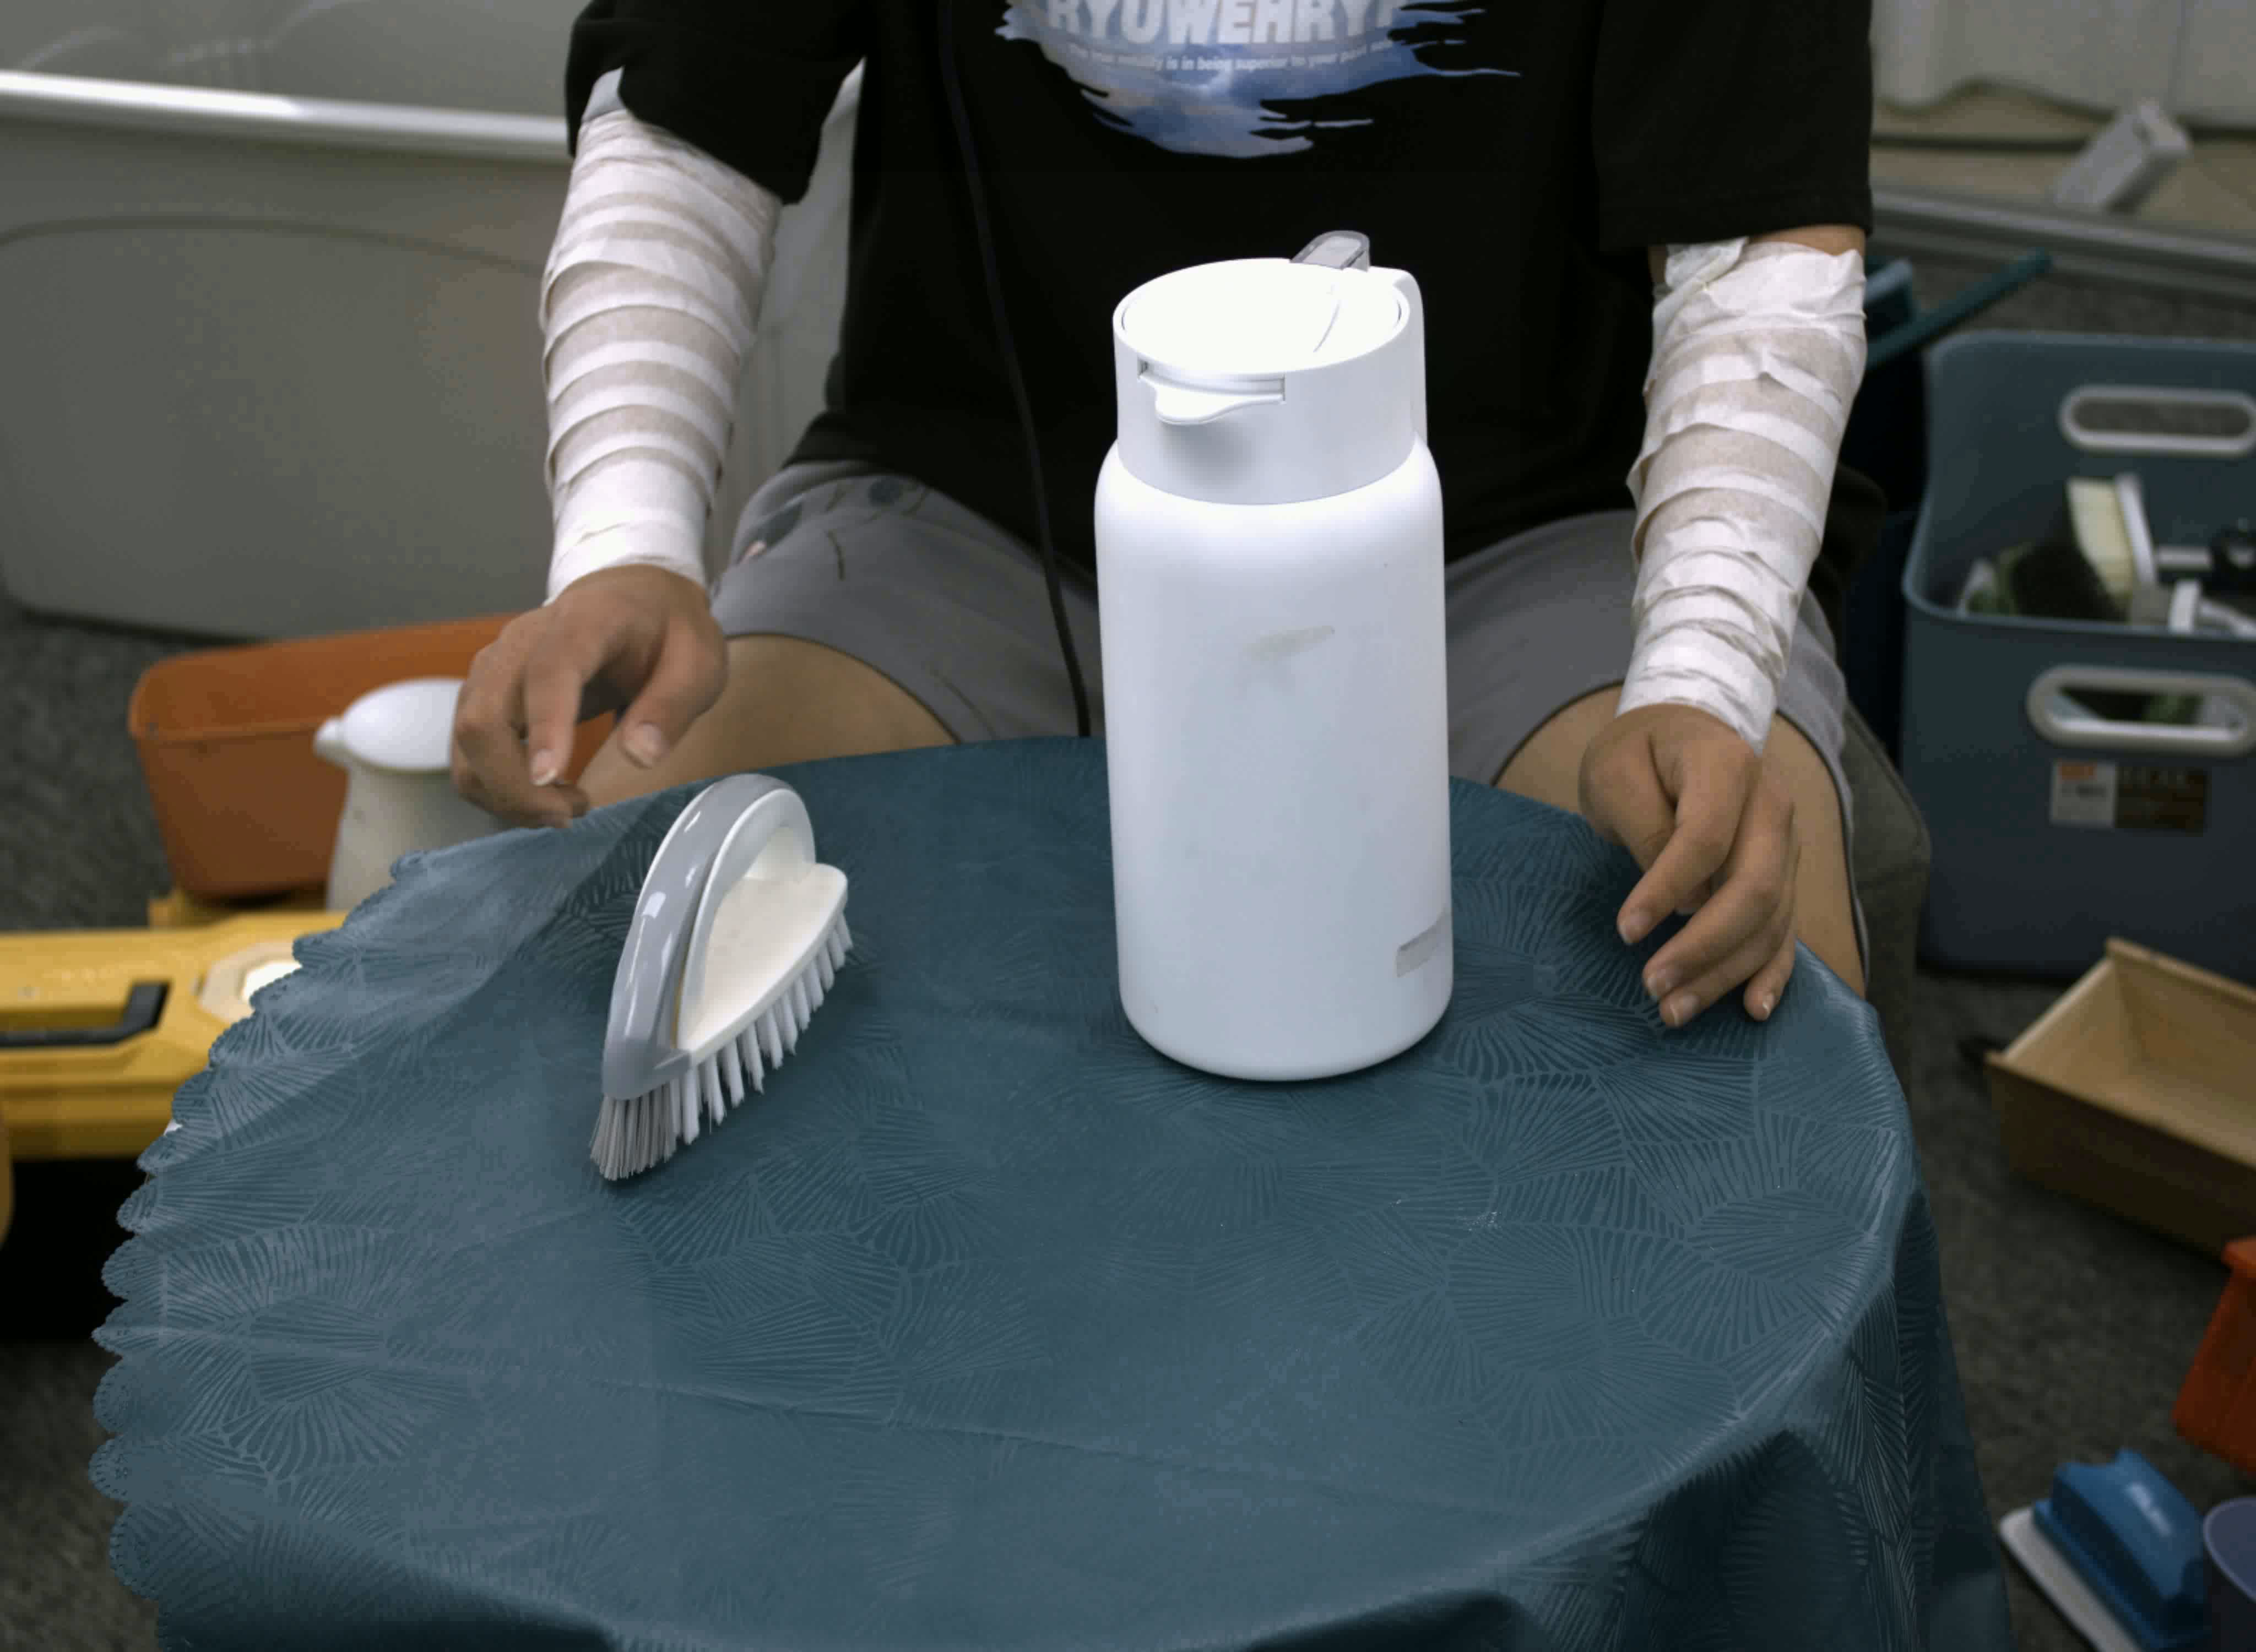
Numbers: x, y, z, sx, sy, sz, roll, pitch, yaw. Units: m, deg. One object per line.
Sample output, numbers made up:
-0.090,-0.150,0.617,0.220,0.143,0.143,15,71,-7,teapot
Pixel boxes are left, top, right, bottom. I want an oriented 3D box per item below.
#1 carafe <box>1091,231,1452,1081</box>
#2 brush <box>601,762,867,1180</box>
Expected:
0.054,-0.062,1.924,0.123,0.266,0.176,6,27,23,carafe
-0.145,0.042,1.931,0.061,0.093,0.178,3,29,18,brush
